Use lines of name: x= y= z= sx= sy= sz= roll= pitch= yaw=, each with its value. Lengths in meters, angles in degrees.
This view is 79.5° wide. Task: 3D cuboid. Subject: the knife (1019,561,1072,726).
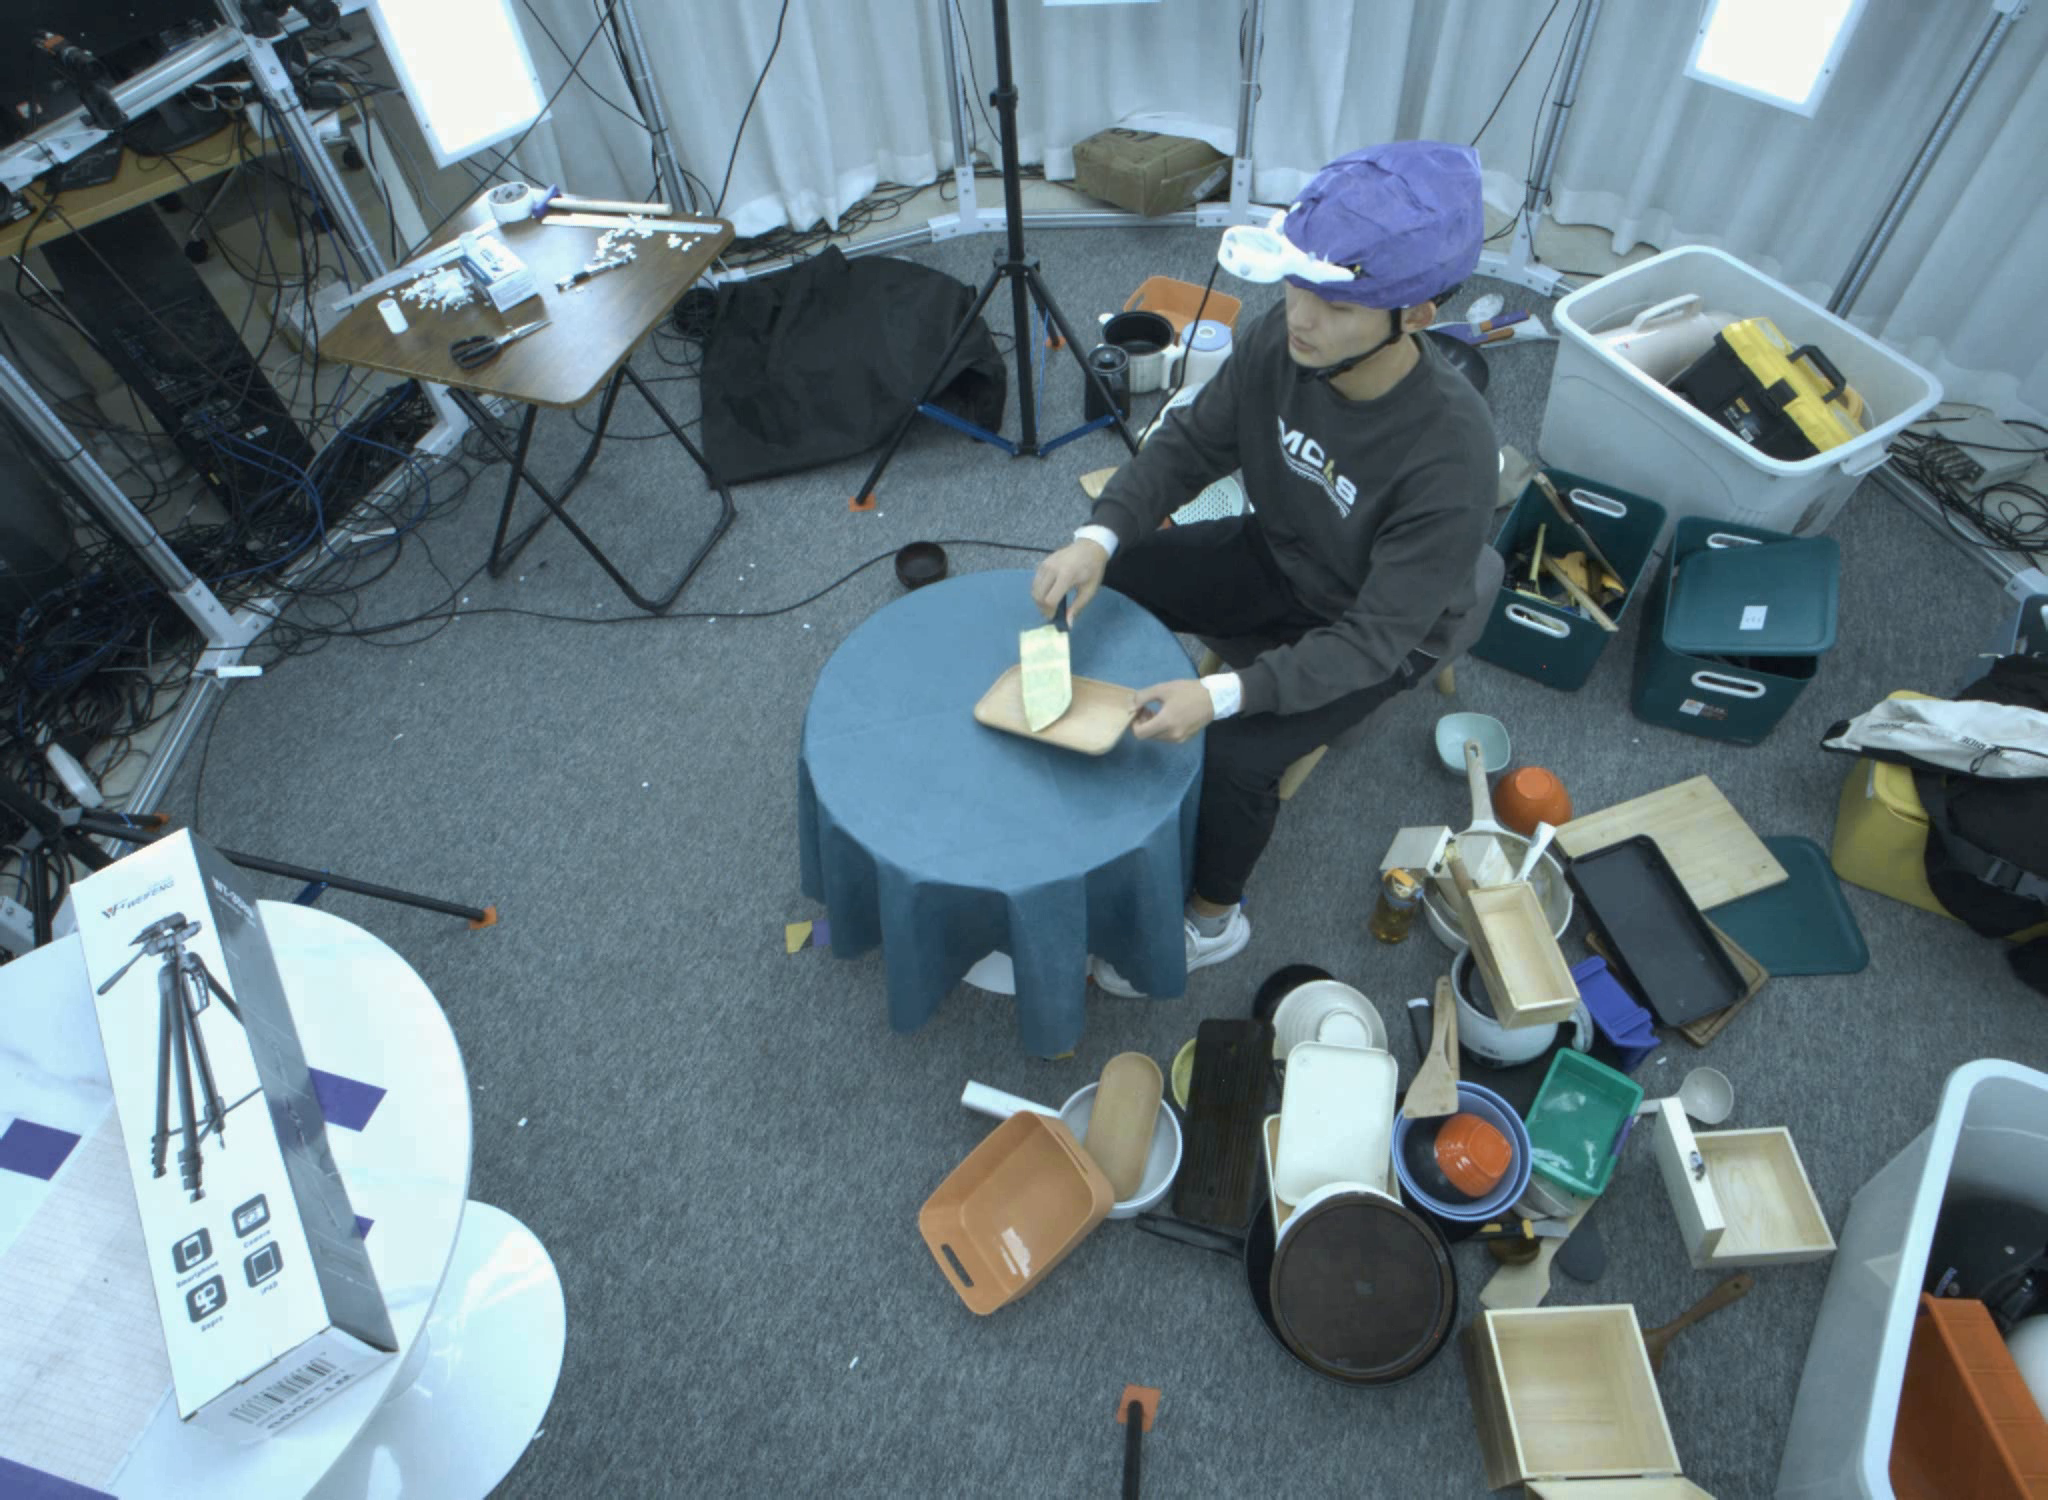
knife: x=0.032 y=-0.160 z=1.820 sx=0.080 sy=0.027 sz=0.287 roll=-5 pitch=61 yaw=11

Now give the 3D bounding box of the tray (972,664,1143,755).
tray: x=0.047 y=-0.061 z=1.784 sx=0.245 sy=0.023 sz=0.131 roll=16 pitch=52 yaw=35
